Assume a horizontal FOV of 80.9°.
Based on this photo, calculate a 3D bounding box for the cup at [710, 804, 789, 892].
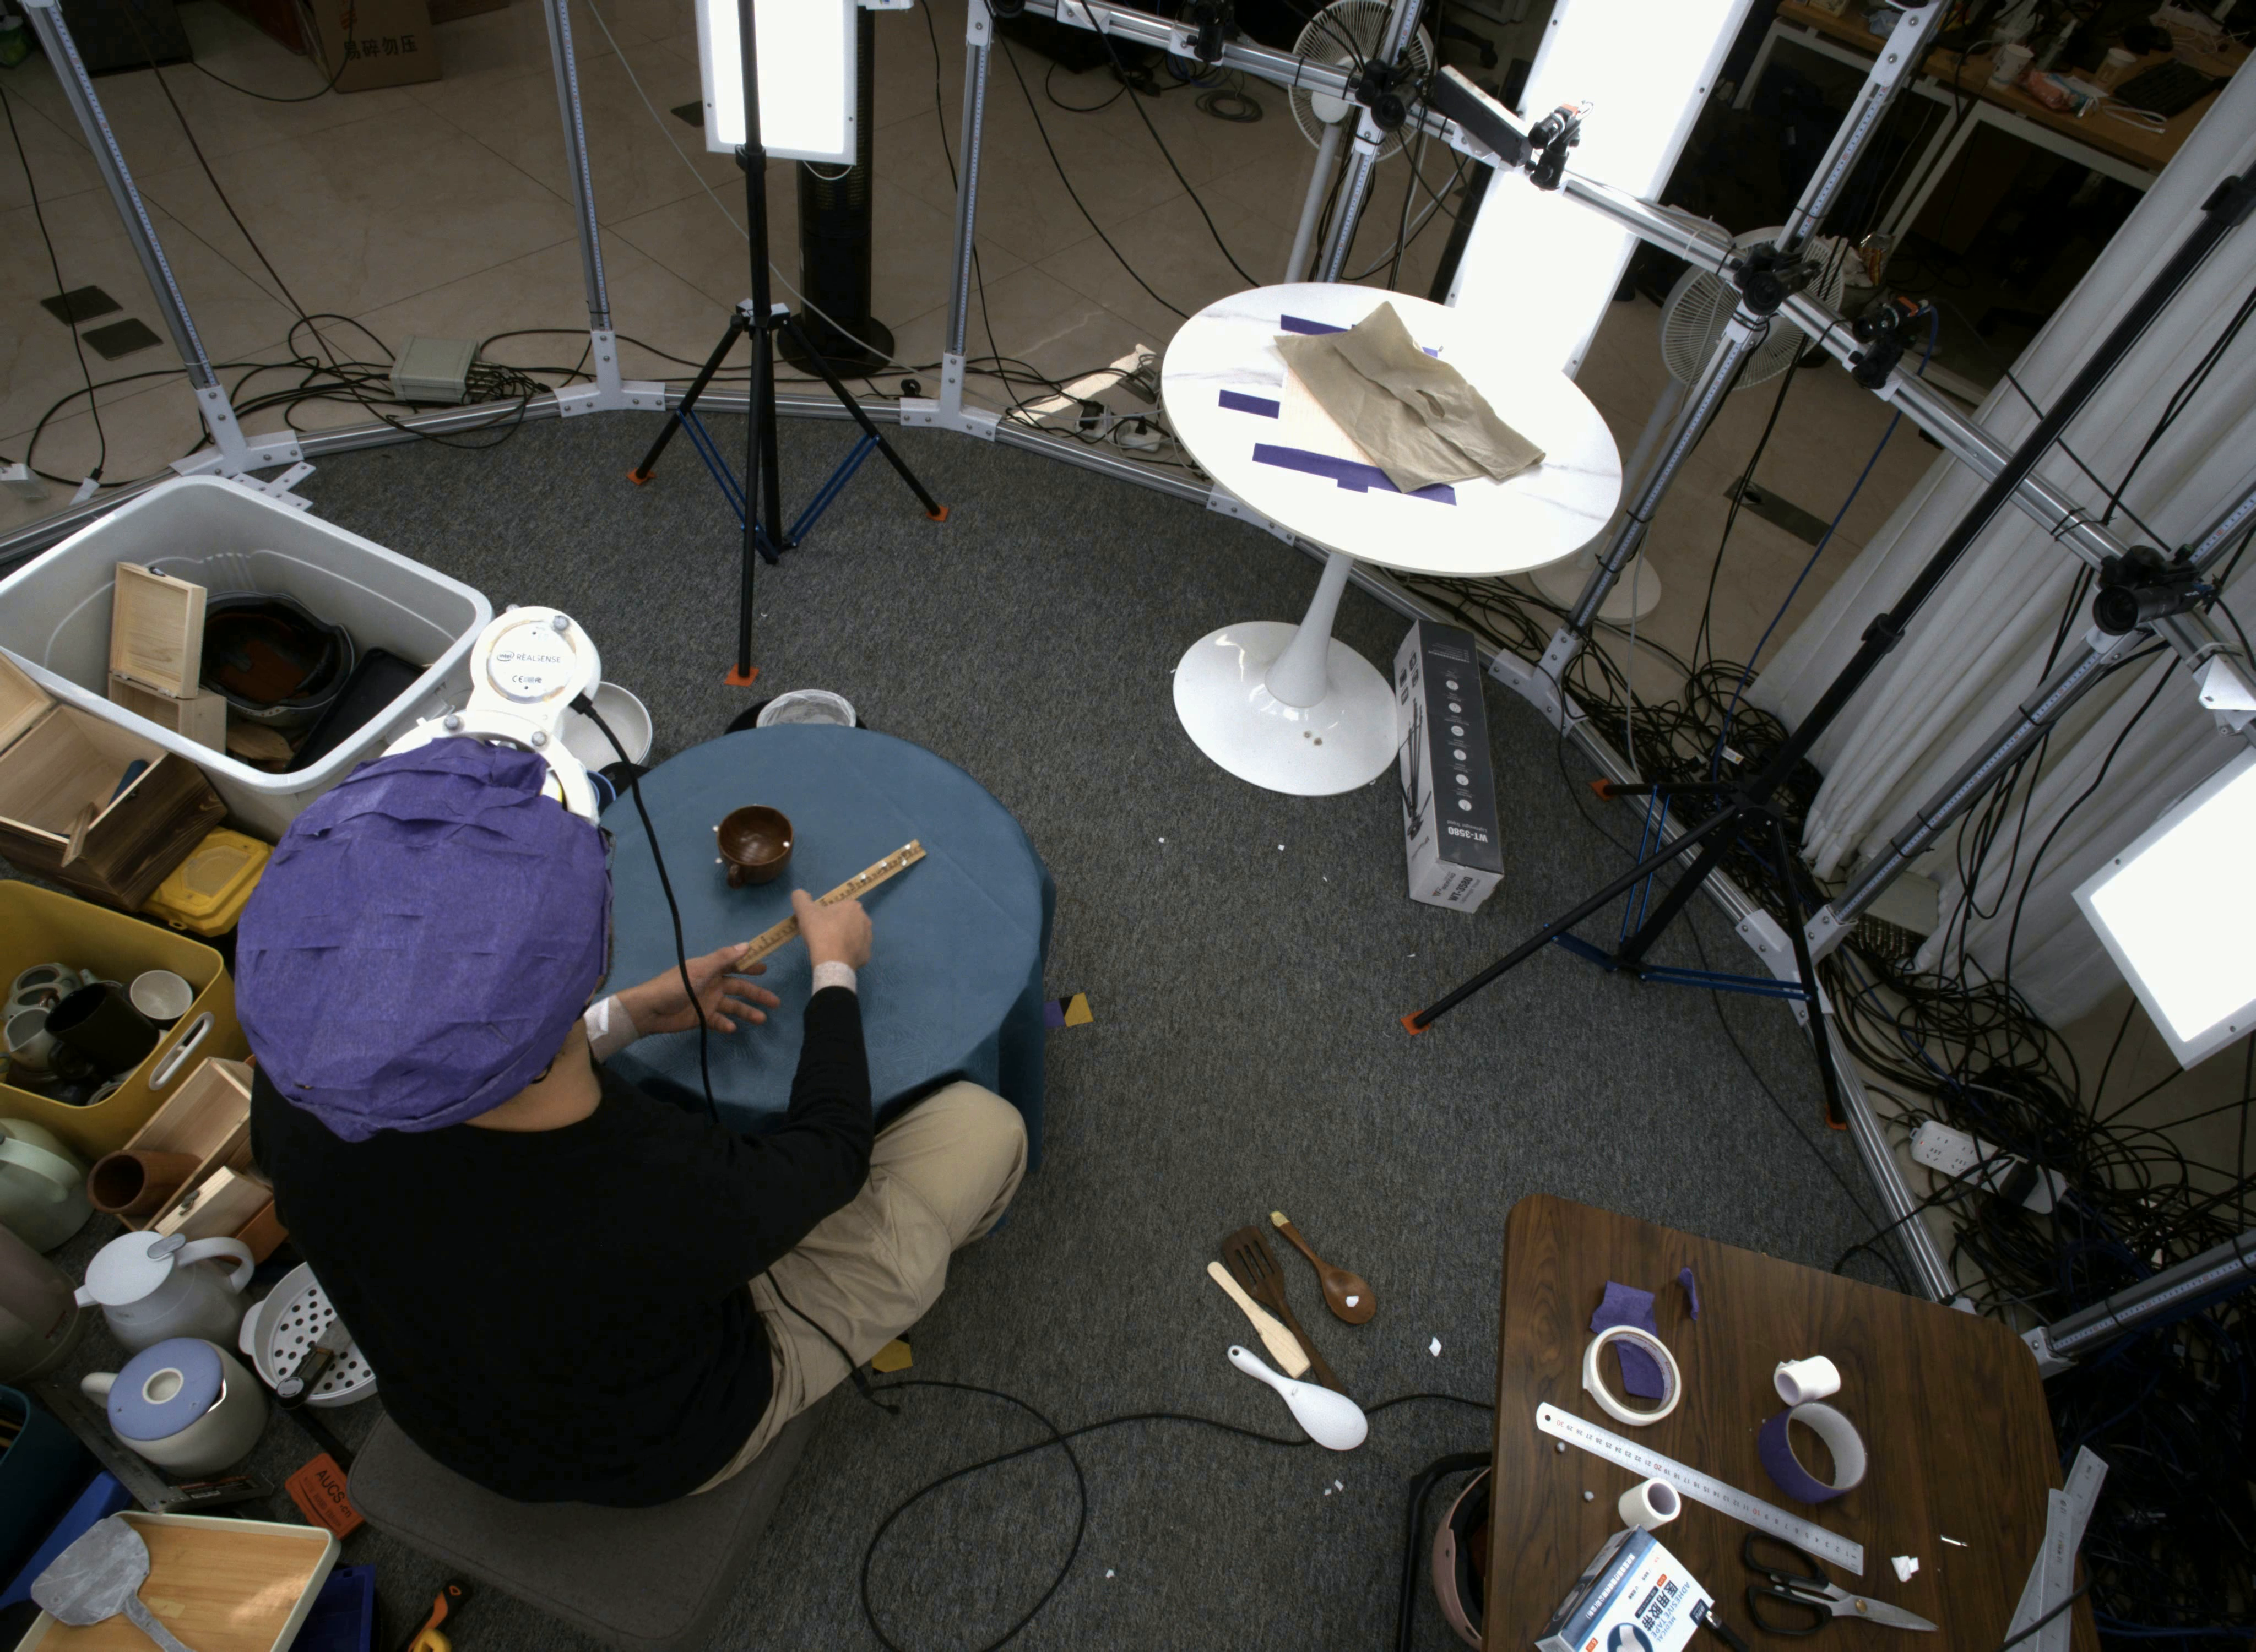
[{"bbox_3d":[-0.482,0.037,1.634,0.095,0.069,0.118,20,52,-1],"label":"cup"}]

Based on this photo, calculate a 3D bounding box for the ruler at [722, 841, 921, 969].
[{"bbox_3d":[-0.367,0.088,1.600,0.027,0.022,0.333,52,40,3],"label":"ruler"}]
